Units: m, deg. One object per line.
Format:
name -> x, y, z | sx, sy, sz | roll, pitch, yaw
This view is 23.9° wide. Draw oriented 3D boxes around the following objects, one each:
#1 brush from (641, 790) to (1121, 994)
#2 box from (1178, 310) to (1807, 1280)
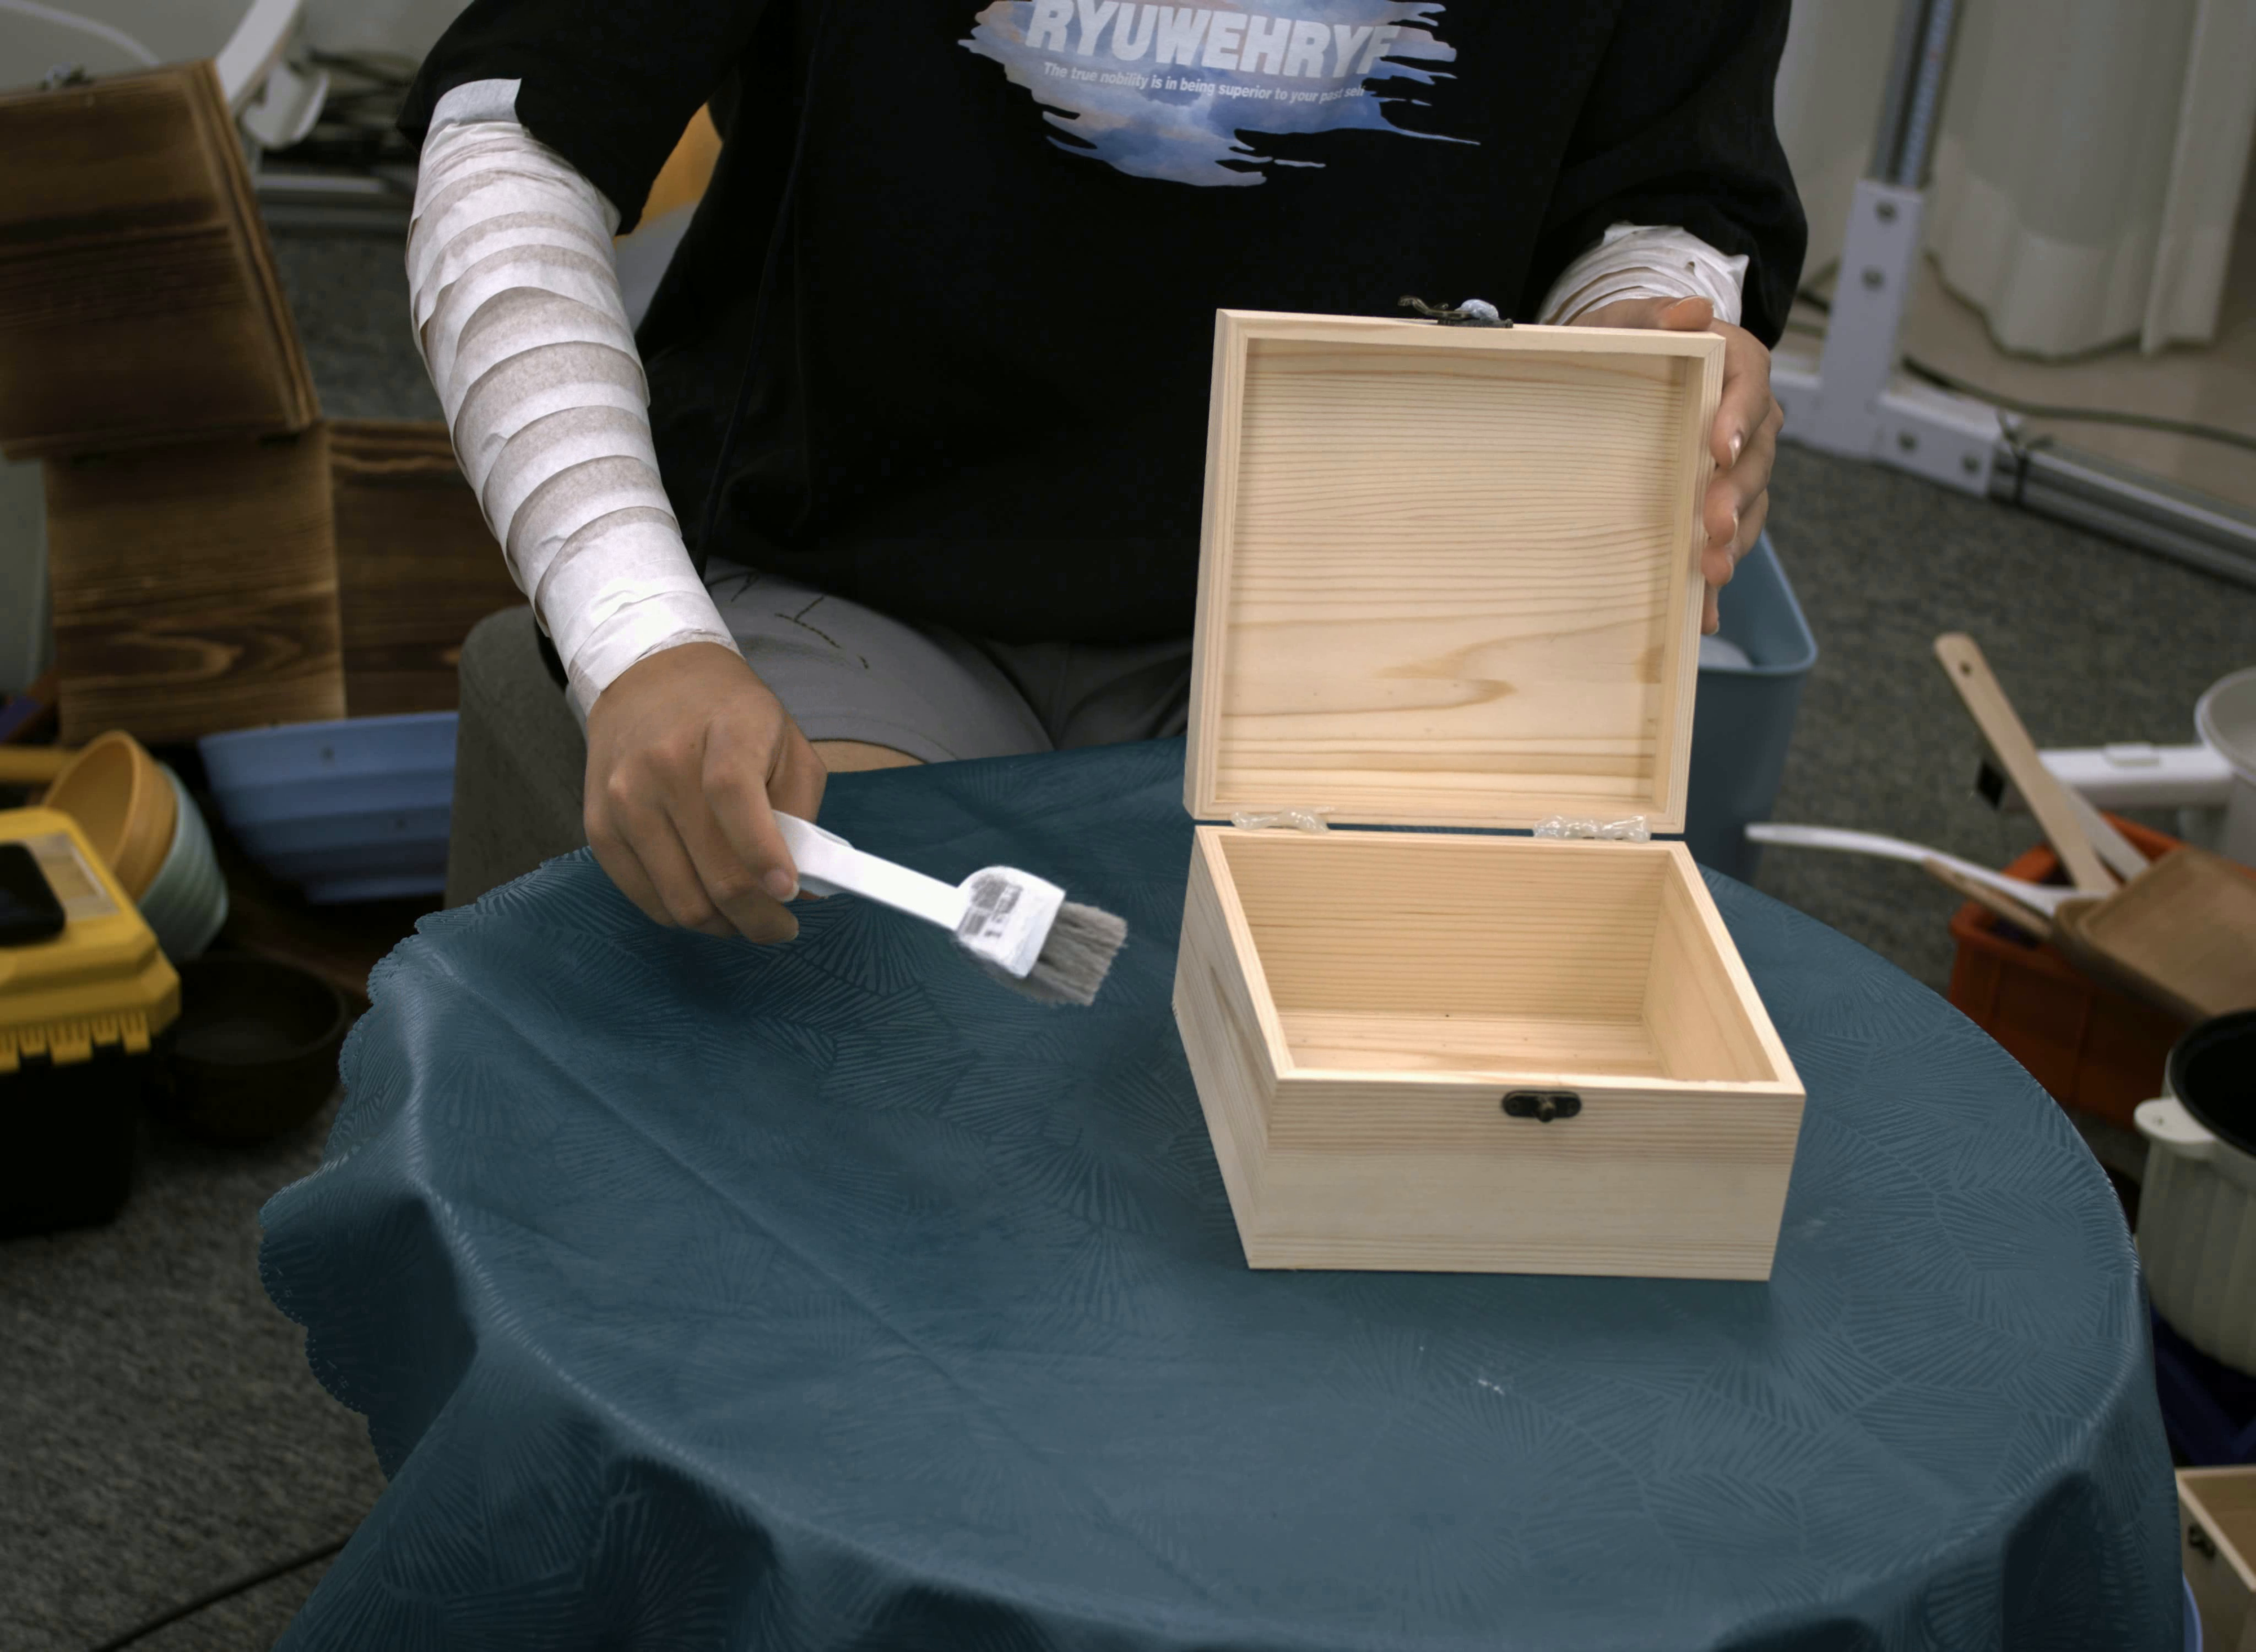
brush -> -0.086, 0.022, 1.831 | 0.050, 0.034, 0.245 | 33, -12, -37
box -> 0.124, -0.016, 1.834 | 0.181, 0.252, 0.267 | 0, 27, -9
